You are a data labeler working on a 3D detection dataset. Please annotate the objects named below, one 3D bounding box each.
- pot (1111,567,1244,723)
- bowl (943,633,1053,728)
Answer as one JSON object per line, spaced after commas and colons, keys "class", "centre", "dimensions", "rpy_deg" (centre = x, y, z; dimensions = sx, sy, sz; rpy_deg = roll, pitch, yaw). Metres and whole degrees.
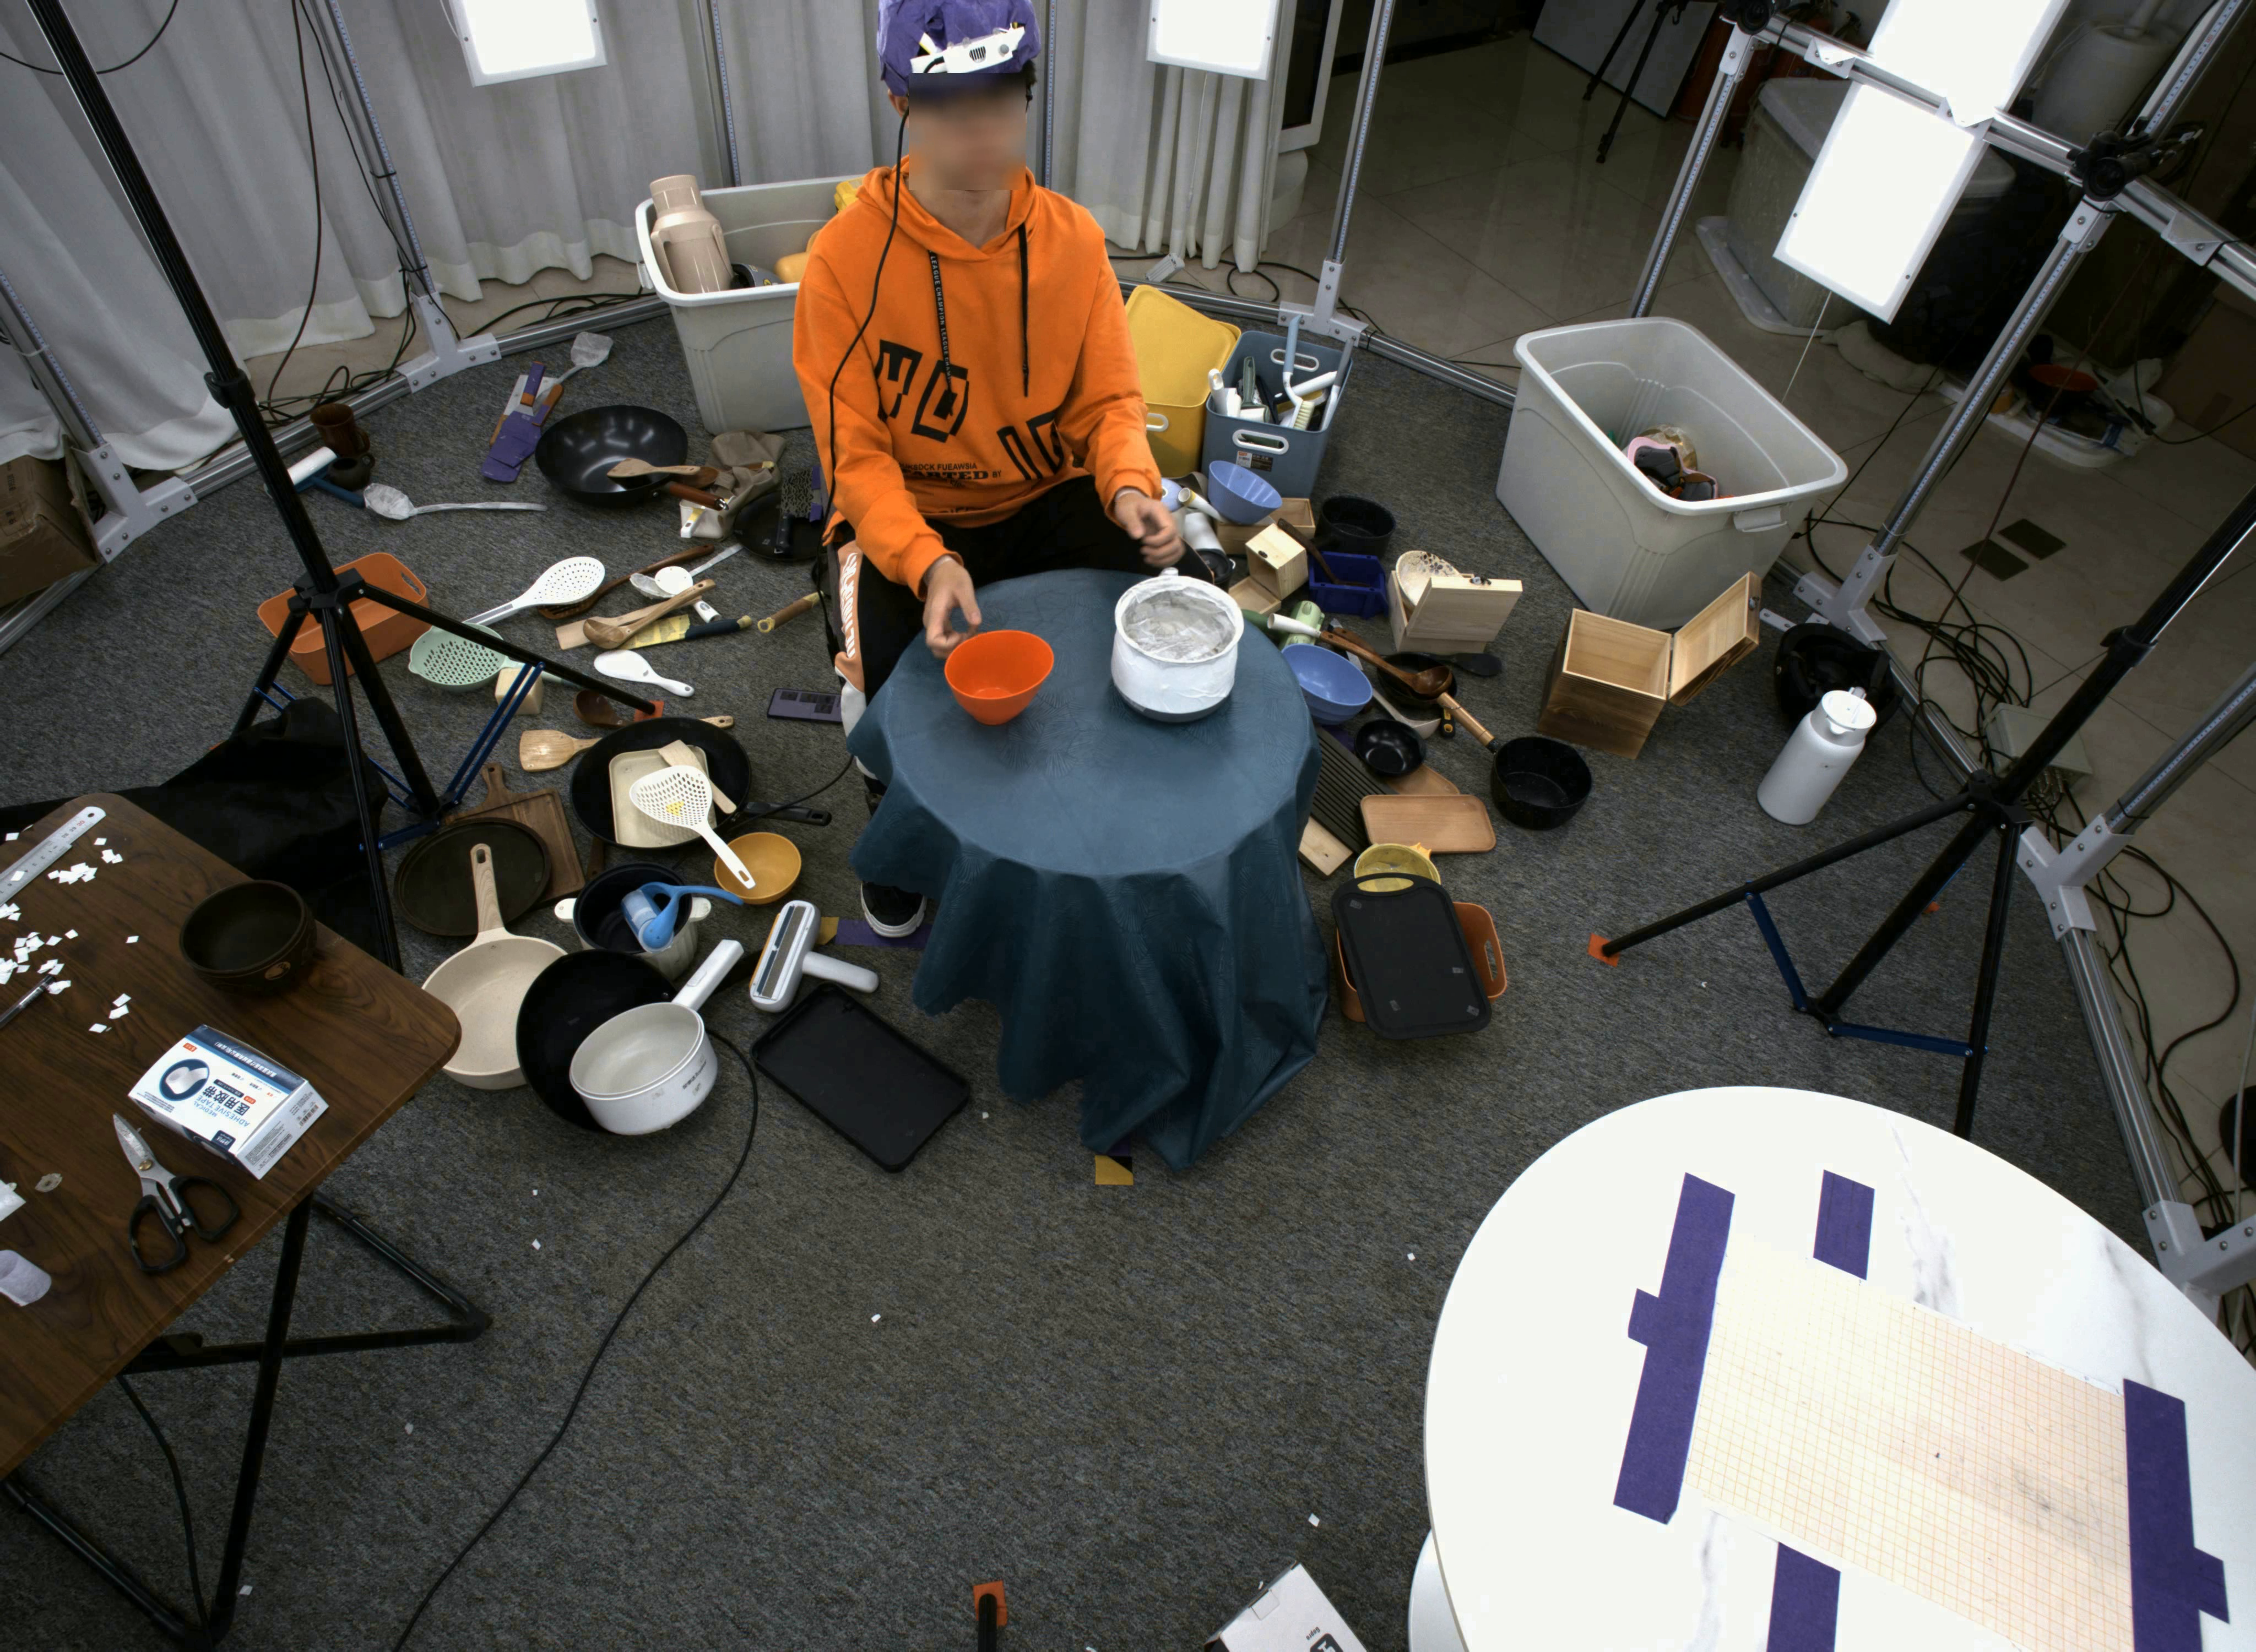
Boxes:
{"class": "pot", "centre": [0.063, -0.265, 1.814], "dimensions": [0.178, 0.133, 0.239], "rpy_deg": [-2, 50, -7]}
{"class": "bowl", "centre": [-0.177, -0.189, 1.760], "dimensions": [0.148, 0.102, 0.152], "rpy_deg": [1, 48, -2]}
